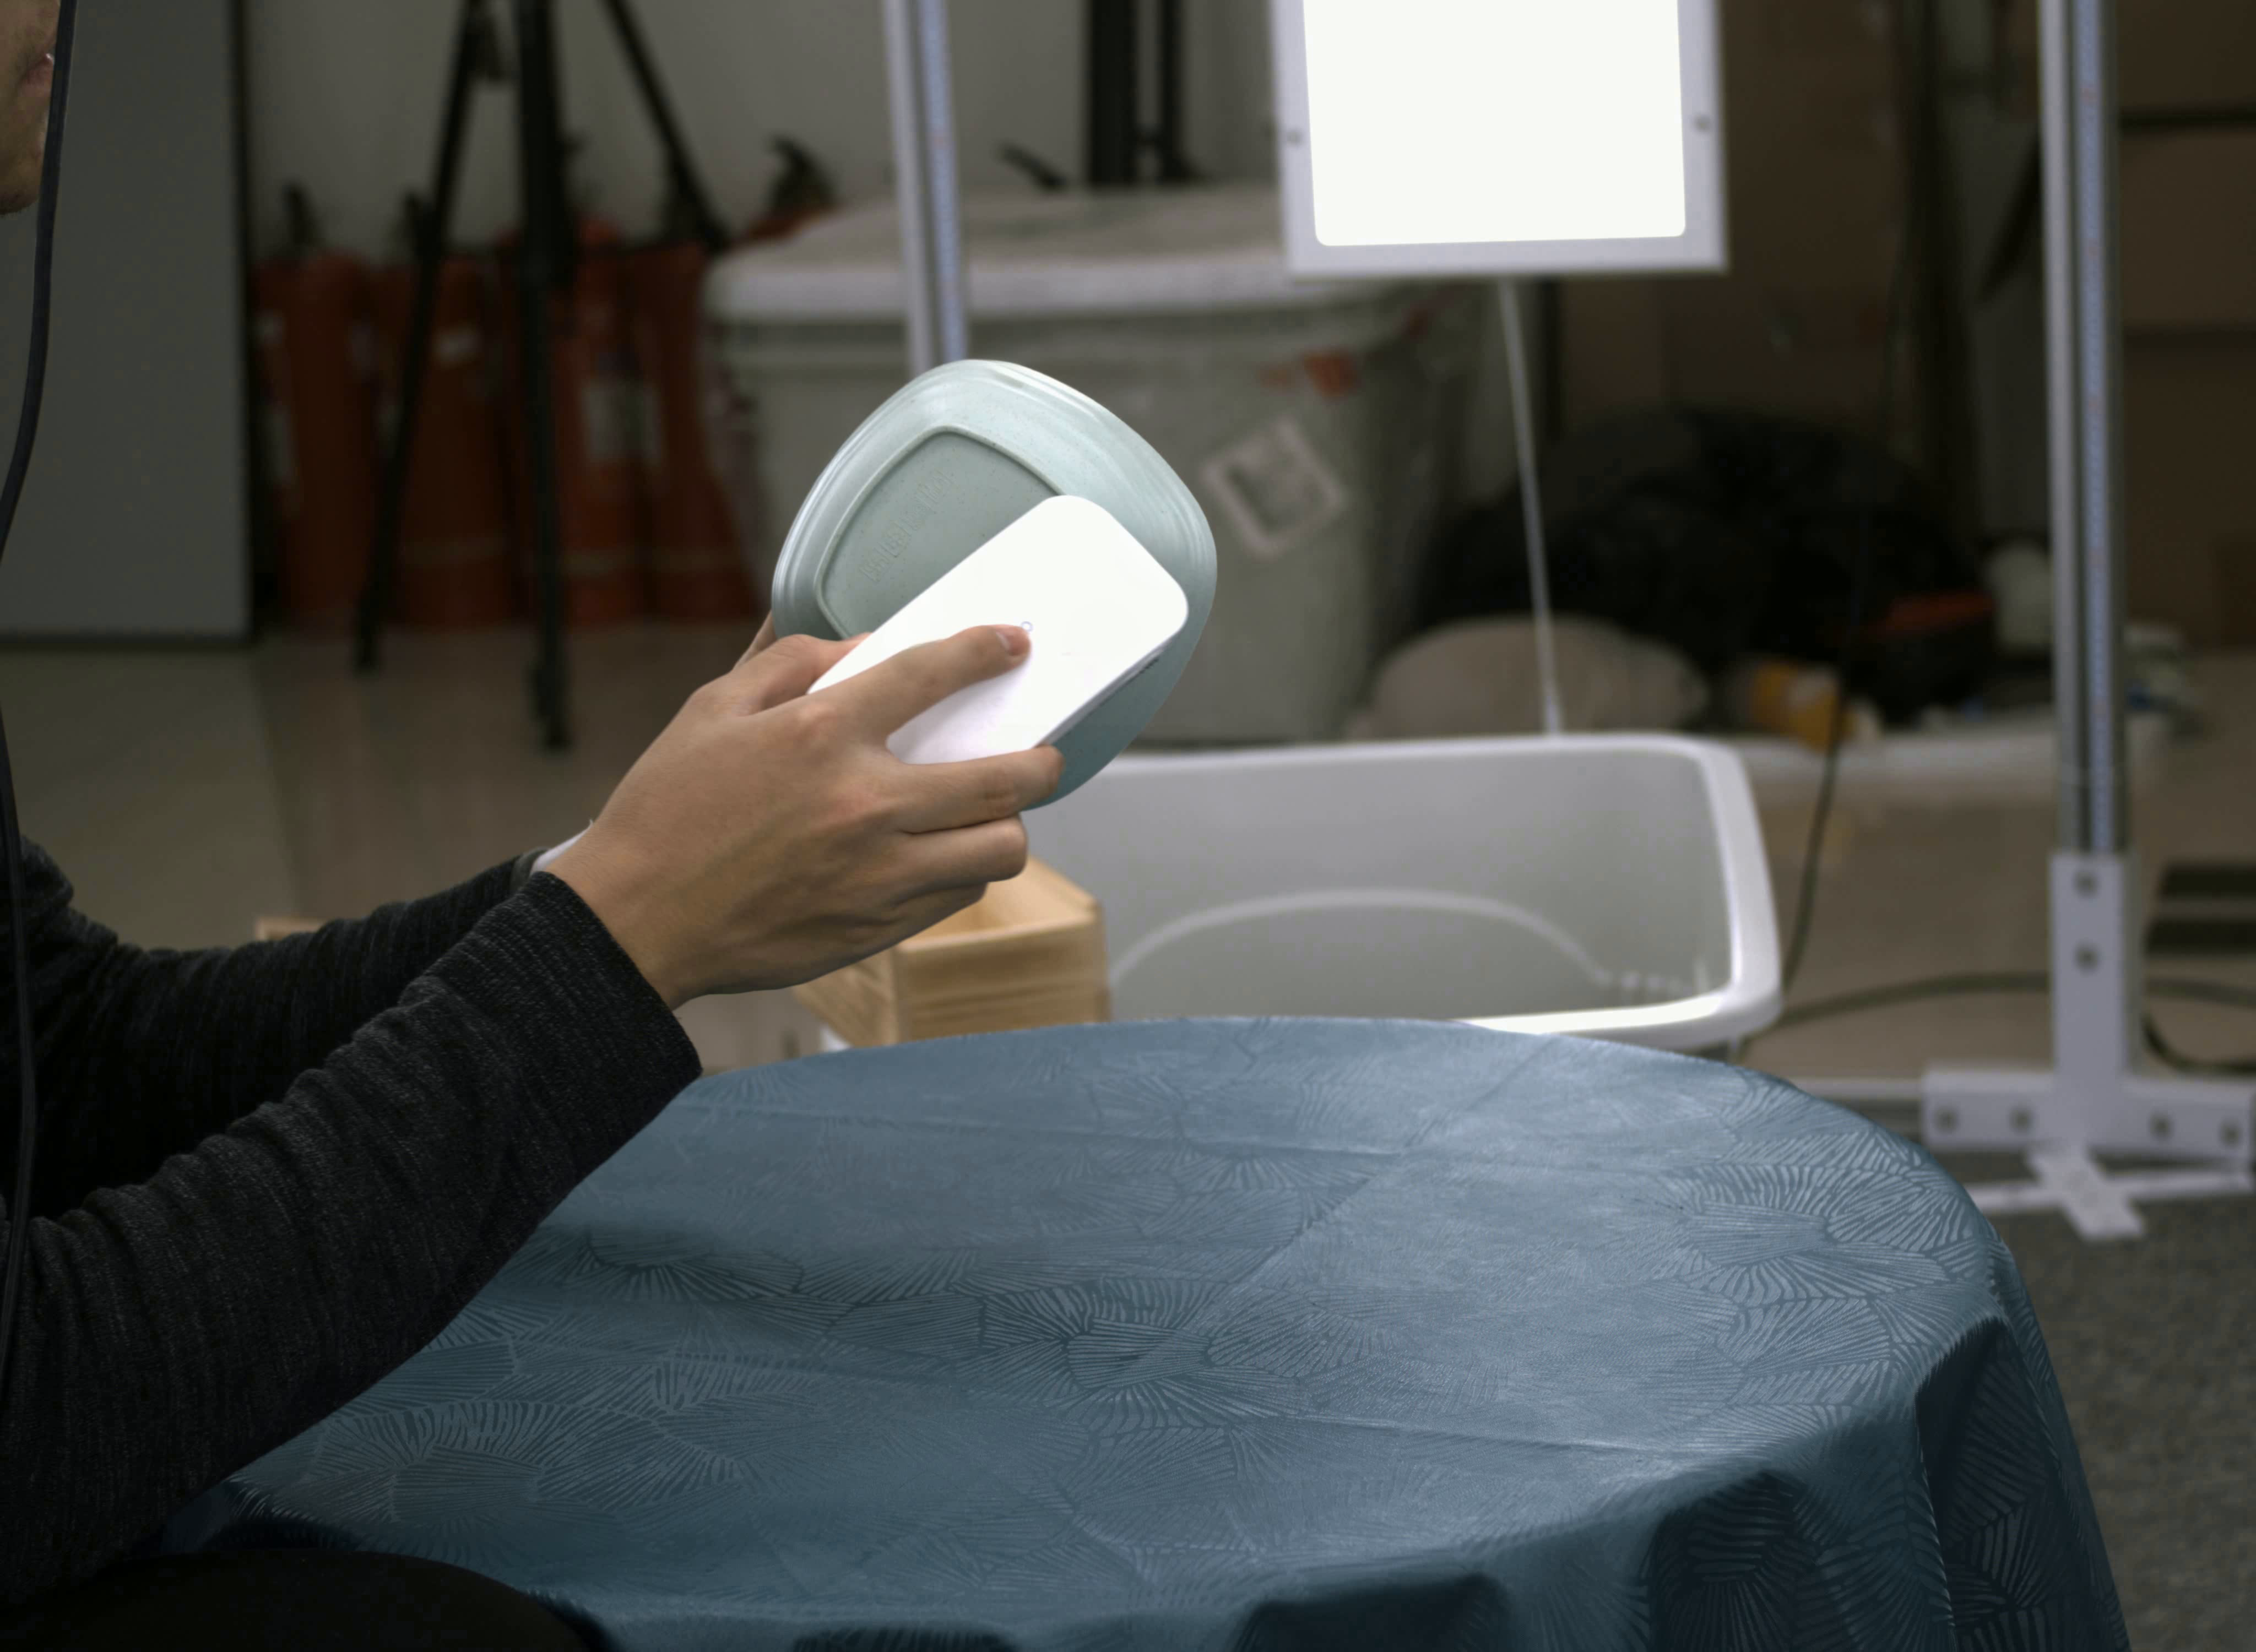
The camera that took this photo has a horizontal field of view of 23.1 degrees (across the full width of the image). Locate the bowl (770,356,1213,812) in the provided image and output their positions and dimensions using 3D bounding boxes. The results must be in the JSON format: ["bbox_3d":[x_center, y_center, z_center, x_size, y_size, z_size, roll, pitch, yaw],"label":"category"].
[{"bbox_3d":[-0.050,-0.080,1.794,0.152,0.152,0.058,-1,0,13],"label":"bowl"}]

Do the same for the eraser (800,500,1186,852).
[{"bbox_3d":[-0.043,-0.049,1.718,0.129,0.064,0.035,-39,-15,-26],"label":"eraser"}]
